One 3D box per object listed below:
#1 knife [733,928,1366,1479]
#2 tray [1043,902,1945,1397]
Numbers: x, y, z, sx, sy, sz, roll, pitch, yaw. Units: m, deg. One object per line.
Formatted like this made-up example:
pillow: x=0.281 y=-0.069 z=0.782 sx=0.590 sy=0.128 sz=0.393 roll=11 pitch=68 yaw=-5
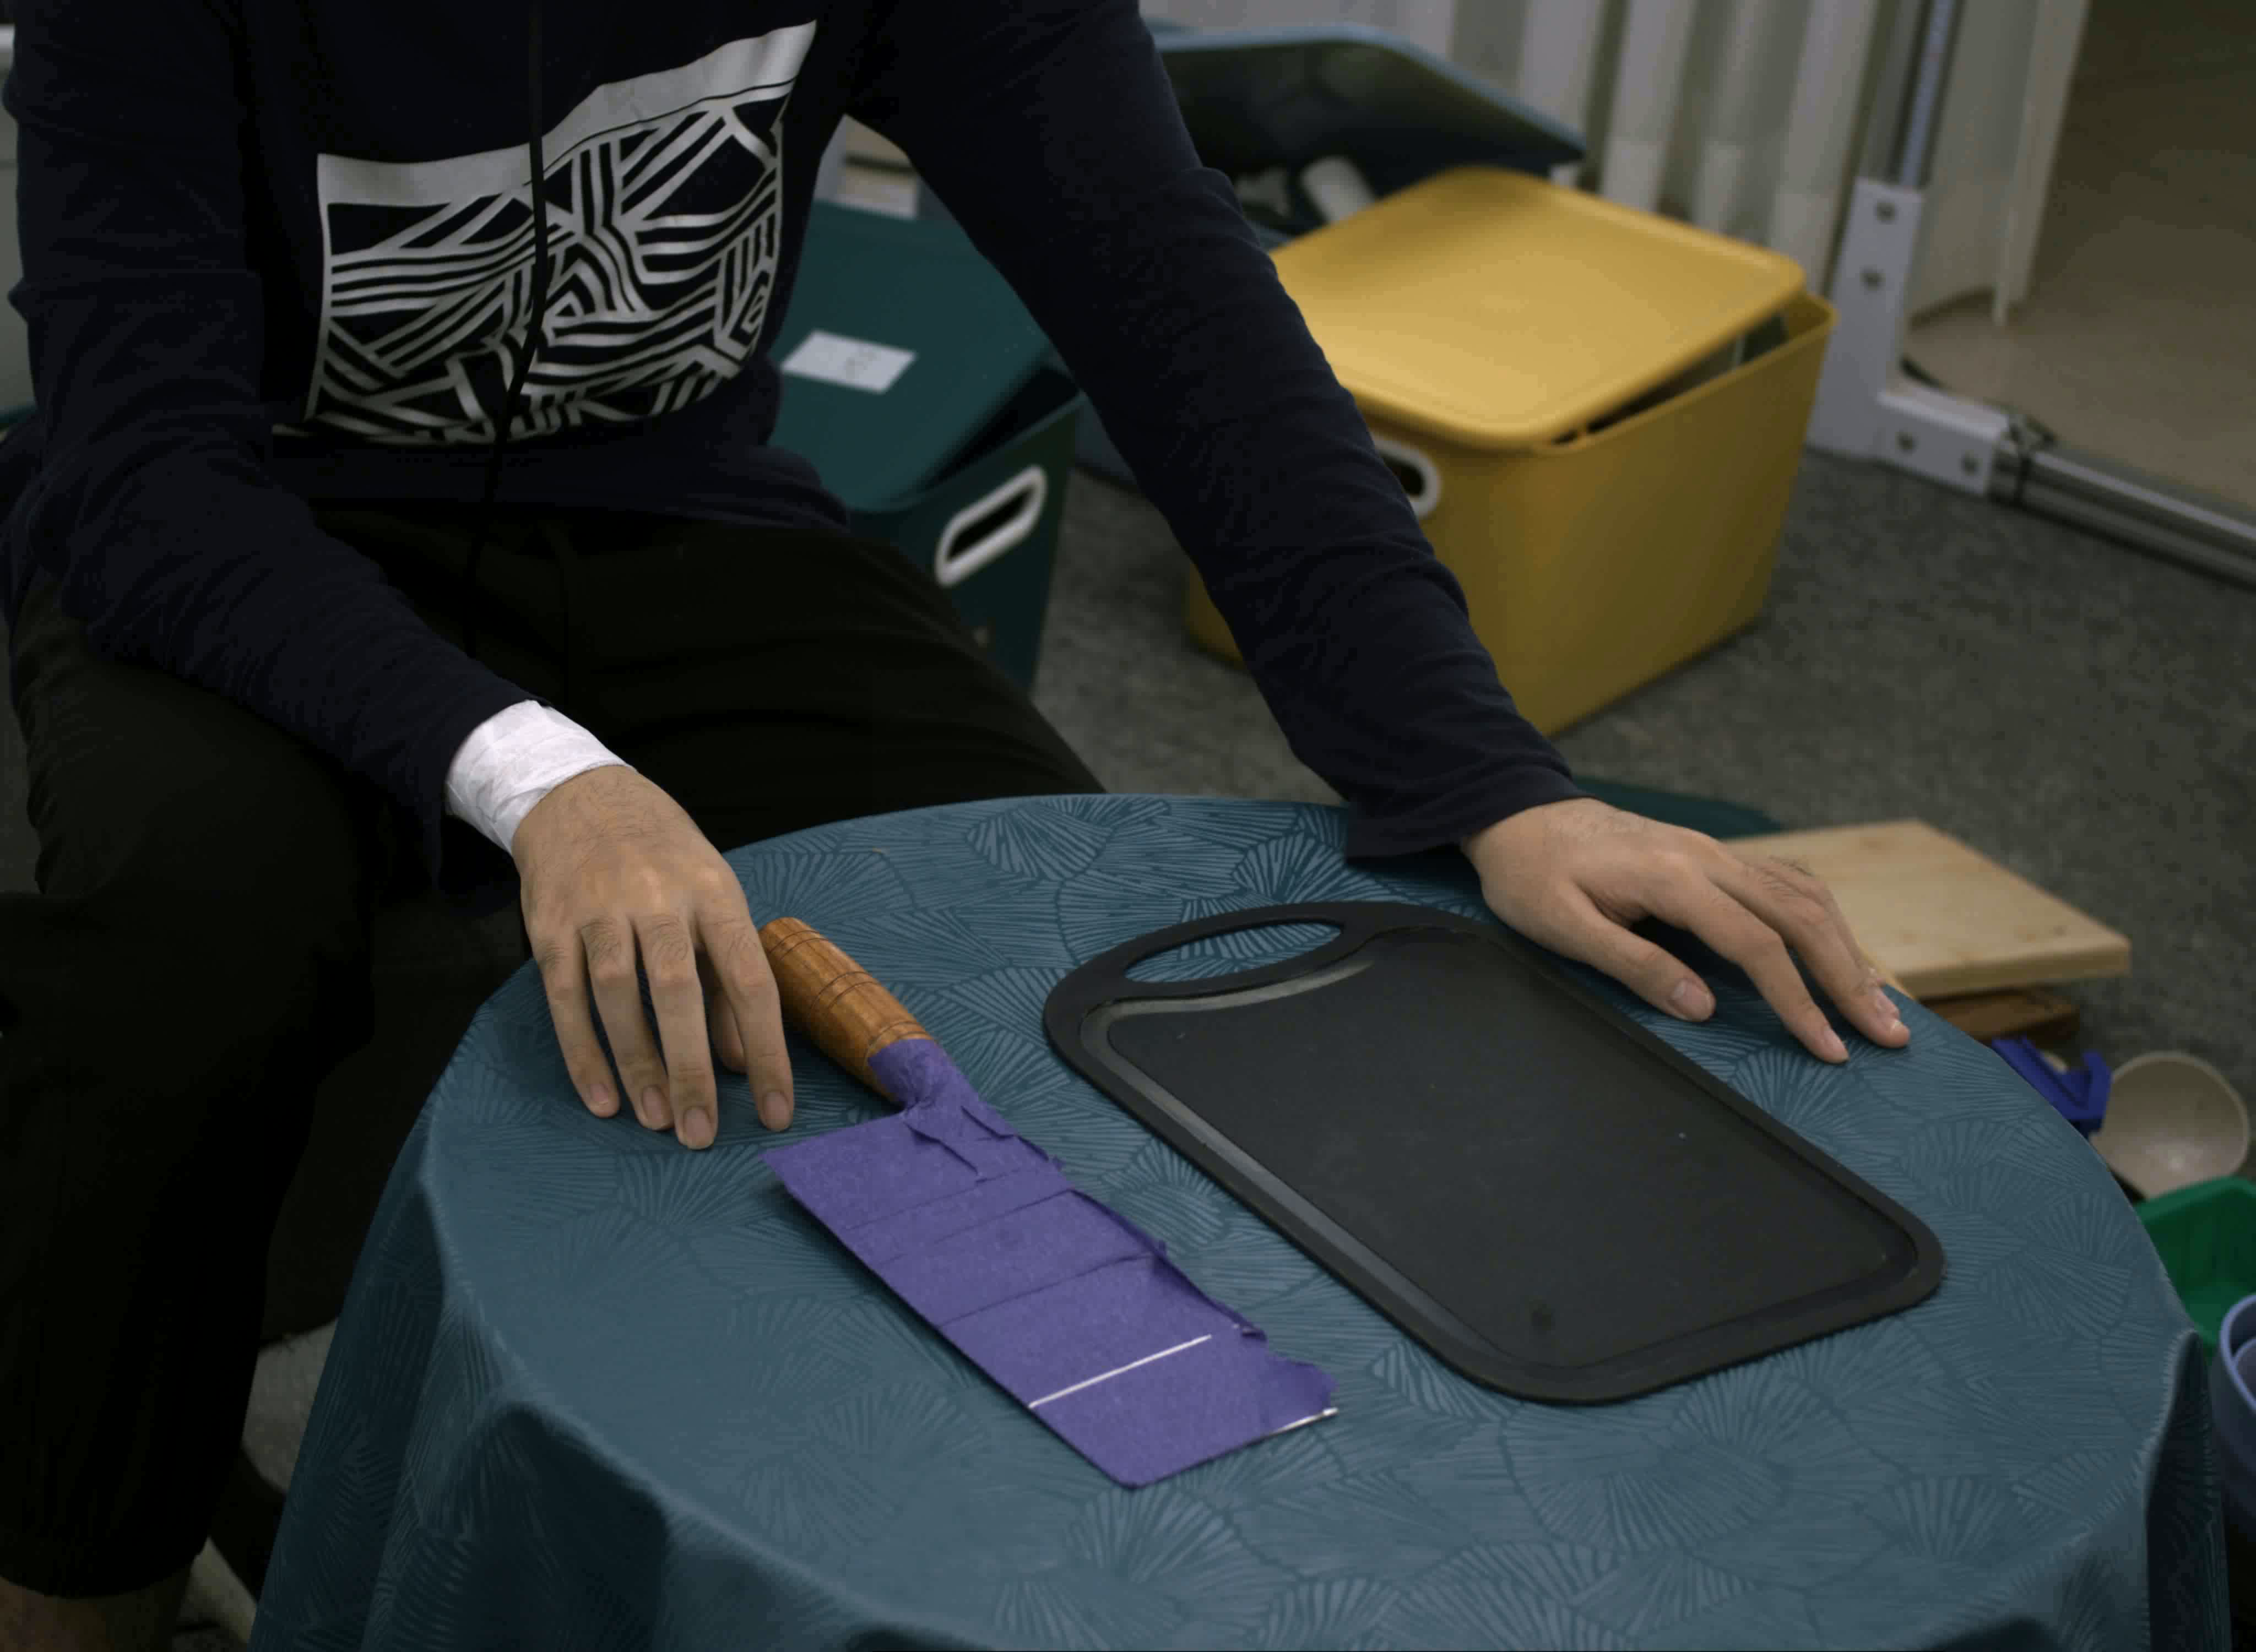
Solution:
knife: x=-0.057 y=0.121 z=1.768 sx=0.103 sy=0.032 sz=0.318 roll=-14 pitch=34 yaw=-36
tray: x=0.119 y=0.103 z=1.865 sx=0.210 sy=0.010 sz=0.328 roll=-12 pitch=32 yaw=-33
